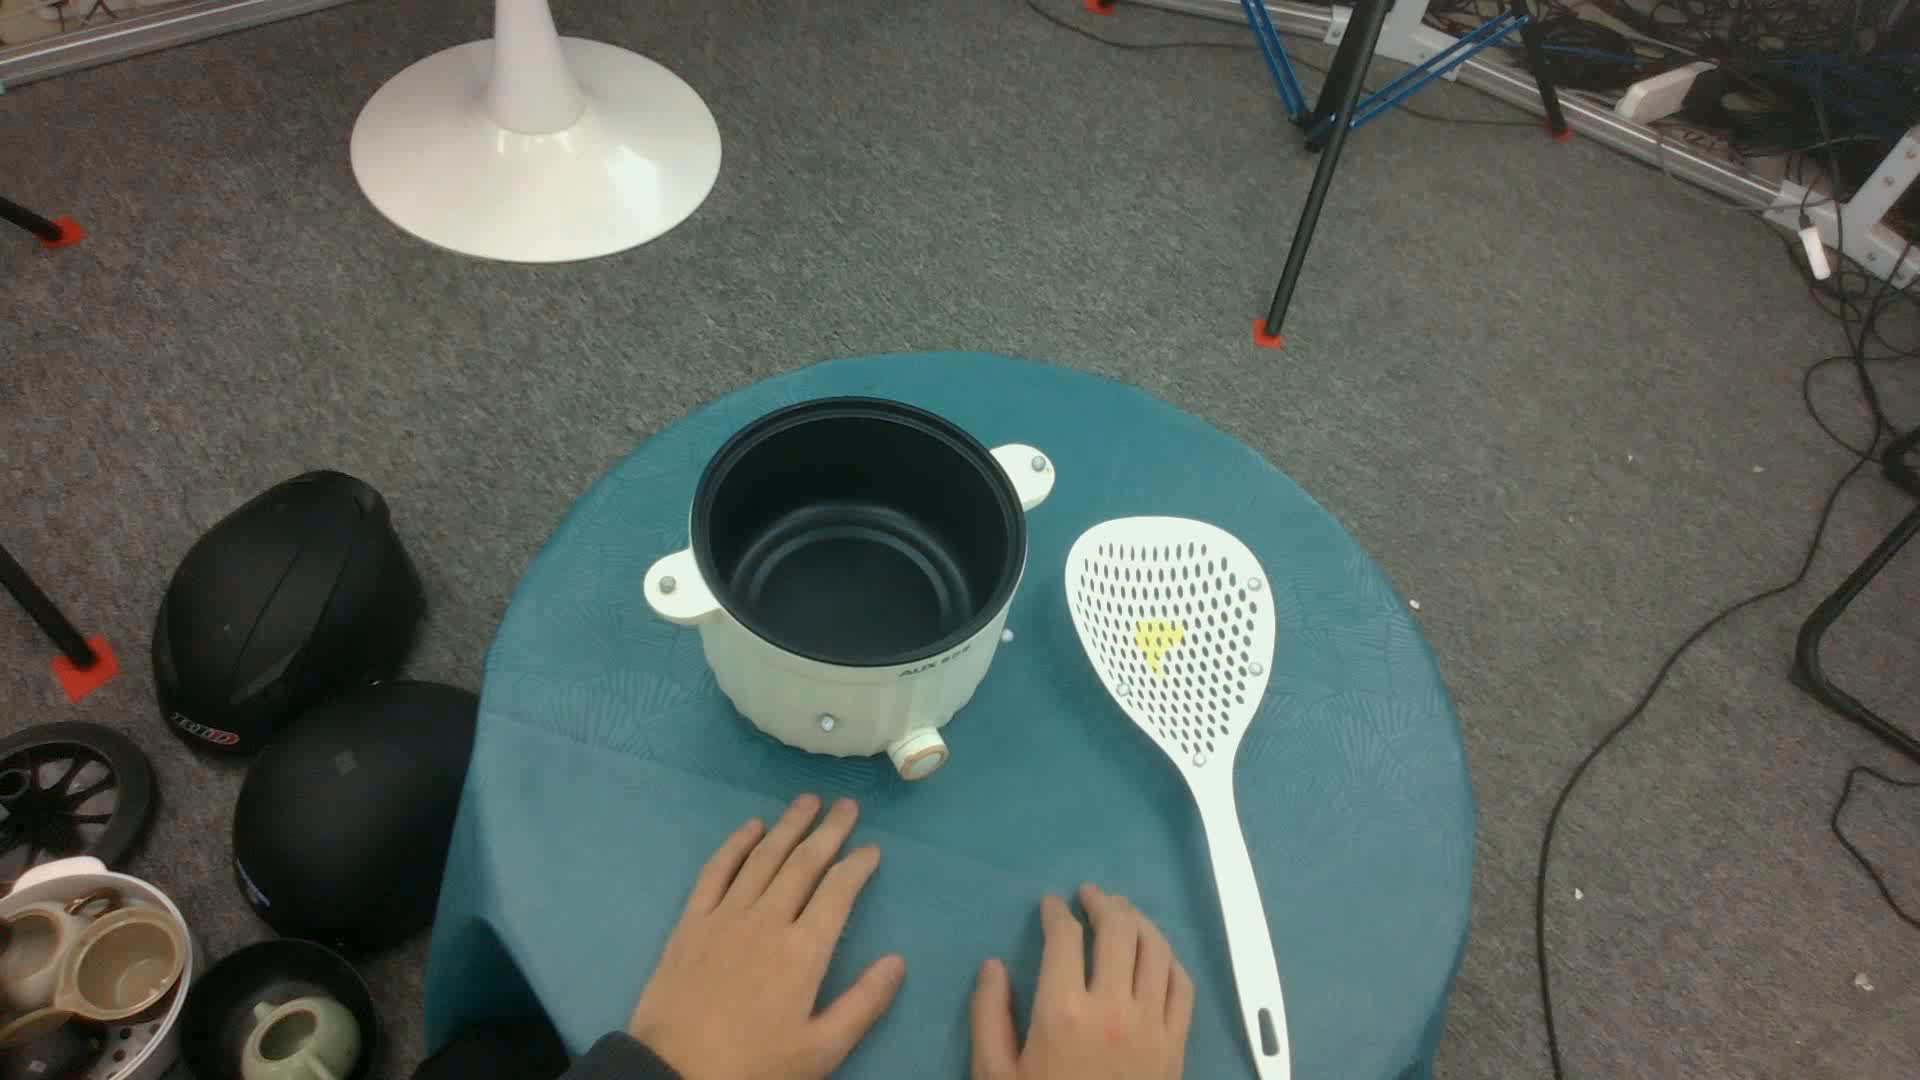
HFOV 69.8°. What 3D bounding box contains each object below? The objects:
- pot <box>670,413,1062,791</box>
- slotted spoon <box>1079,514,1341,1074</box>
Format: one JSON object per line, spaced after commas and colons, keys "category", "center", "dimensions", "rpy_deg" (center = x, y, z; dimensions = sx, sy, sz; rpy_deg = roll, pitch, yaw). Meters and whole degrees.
{"category": "pot", "center": [-0.047, 0.042, 0.802], "dimensions": [0.241, 0.142, 0.191], "rpy_deg": [-24, 55, -21]}
{"category": "slotted spoon", "center": [0.160, 0.133, 0.815], "dimensions": [0.137, 0.050, 0.349], "rpy_deg": [-4, 52, -11]}
